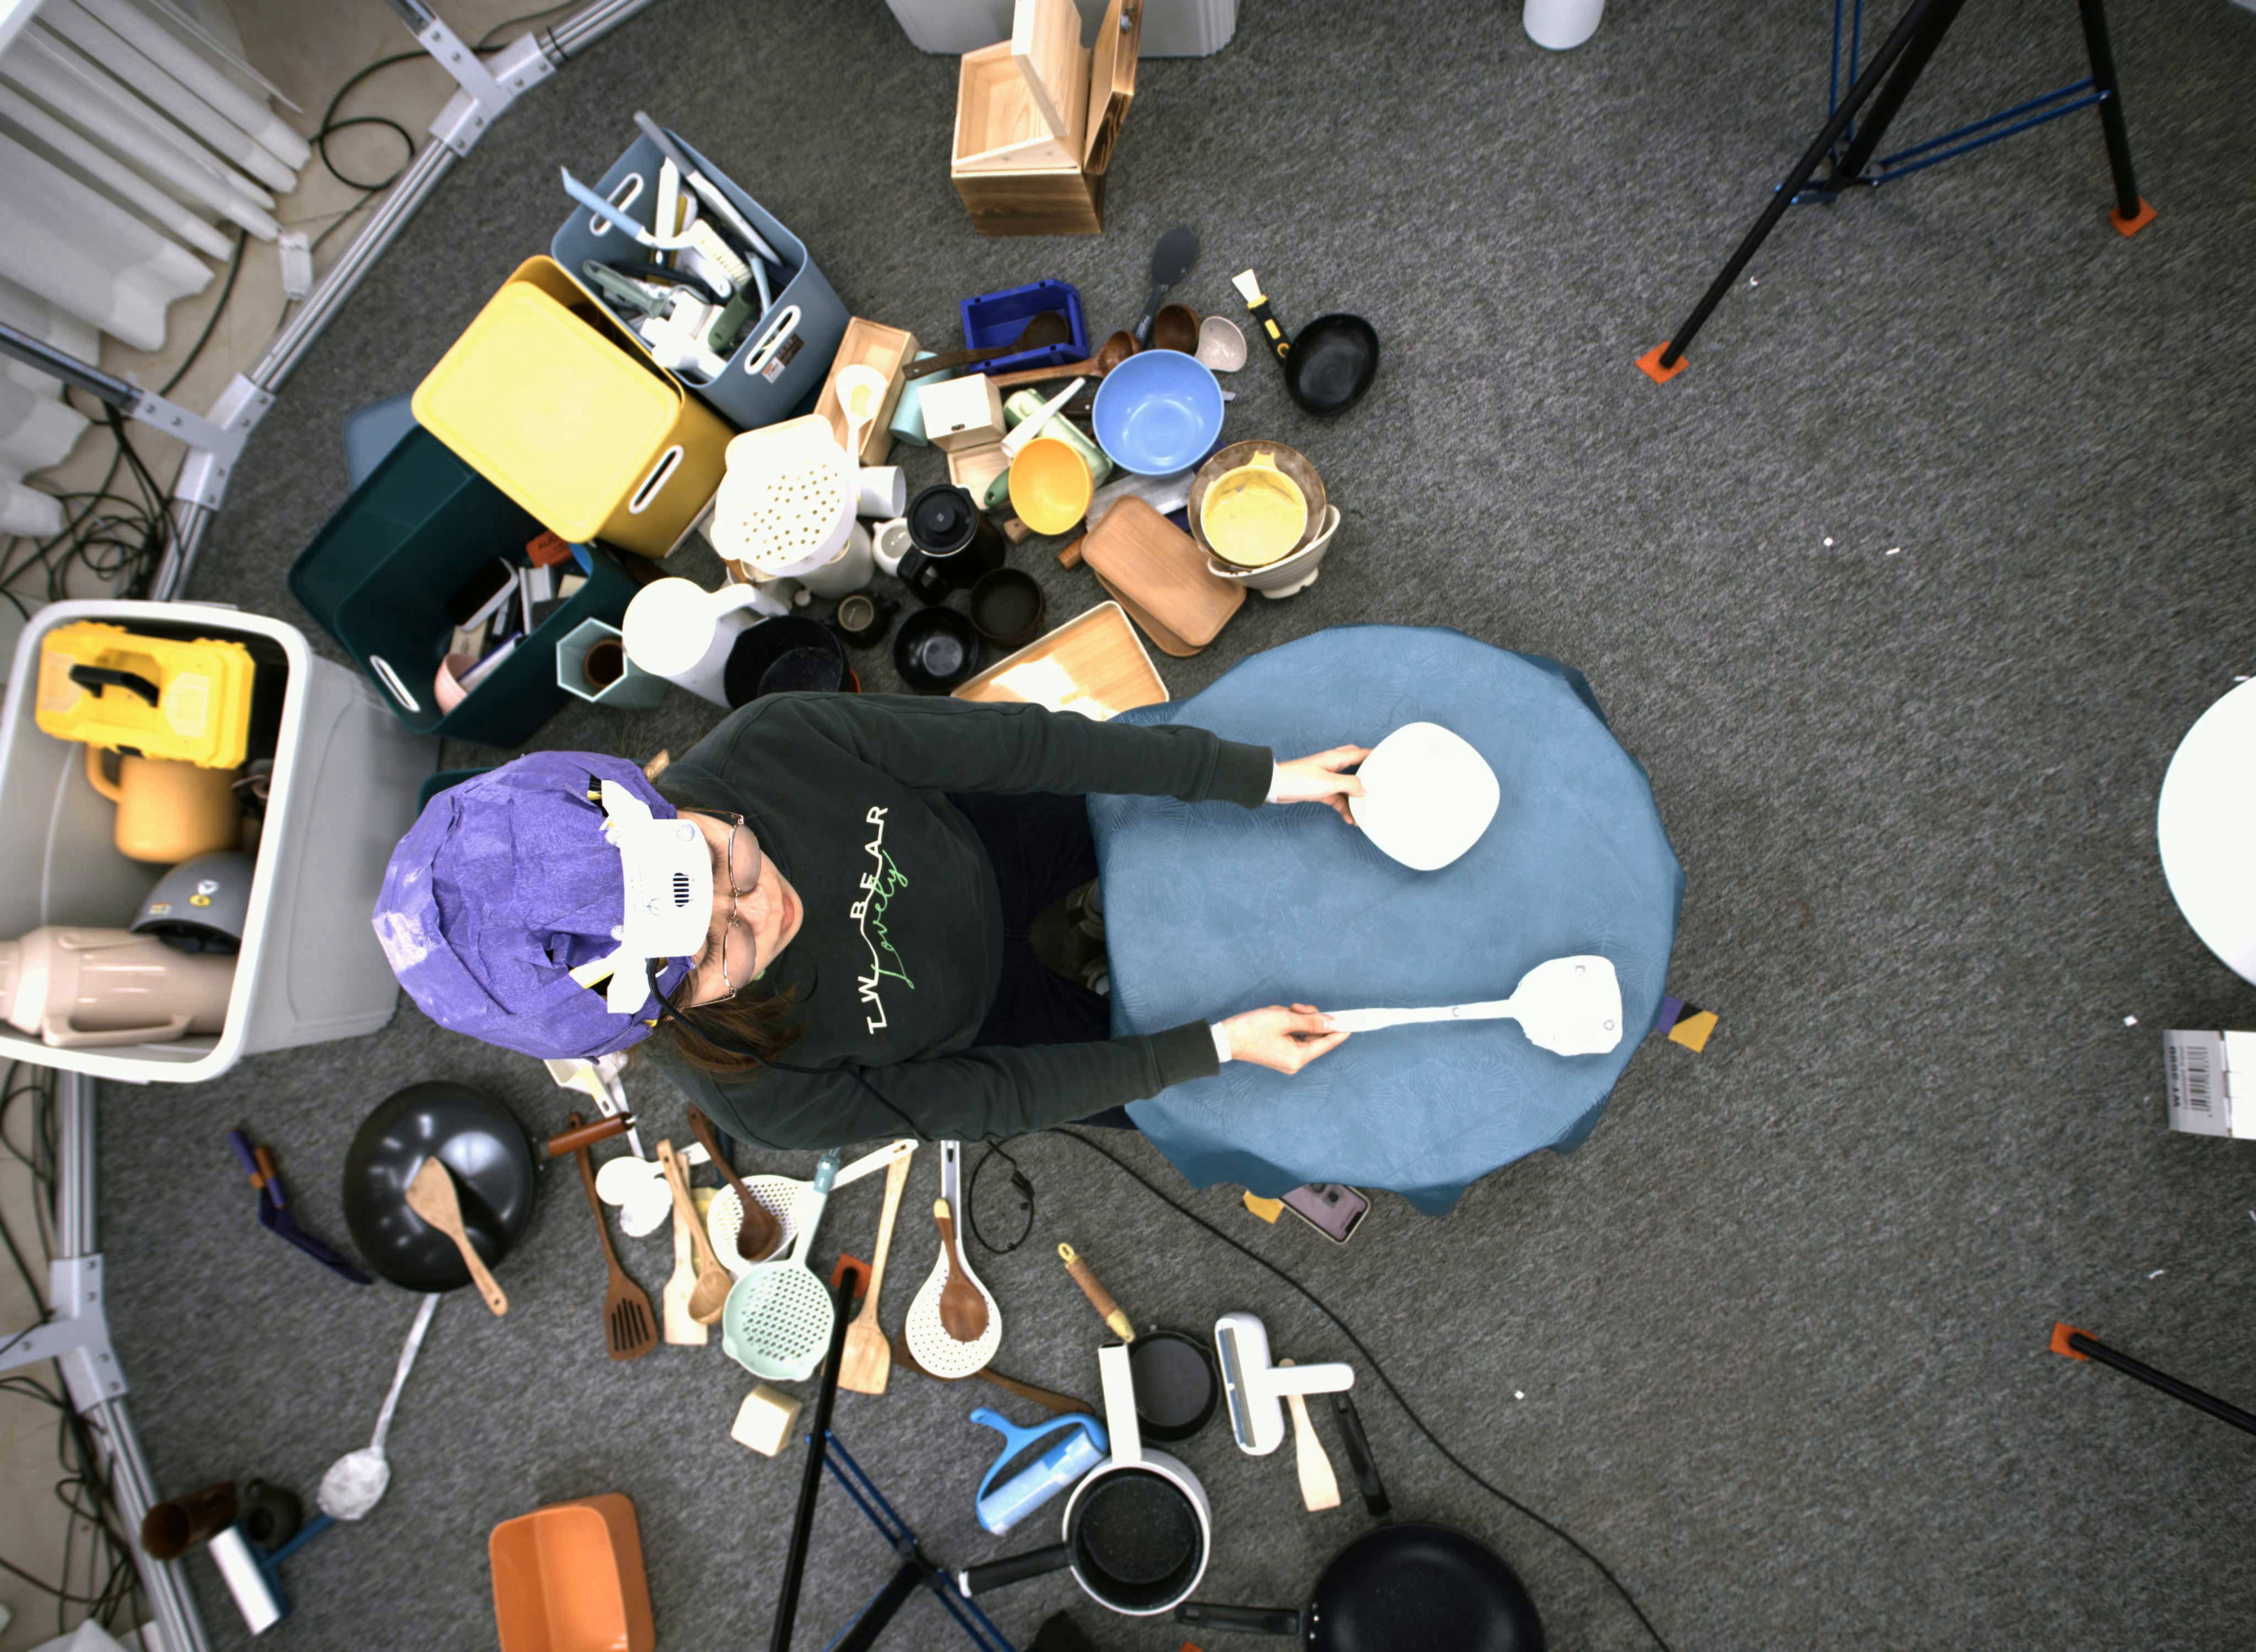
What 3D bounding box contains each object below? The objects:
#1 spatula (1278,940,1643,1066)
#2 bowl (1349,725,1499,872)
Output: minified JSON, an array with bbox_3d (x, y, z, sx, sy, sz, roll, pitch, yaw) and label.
[{"bbox_3d":[0.329,0.197,1.391,0.367,0.045,0.097,-13,71,8],"label":"spatula"},{"bbox_3d":[0.305,-0.028,1.432,0.152,0.058,0.151,0,89,6],"label":"bowl"}]
